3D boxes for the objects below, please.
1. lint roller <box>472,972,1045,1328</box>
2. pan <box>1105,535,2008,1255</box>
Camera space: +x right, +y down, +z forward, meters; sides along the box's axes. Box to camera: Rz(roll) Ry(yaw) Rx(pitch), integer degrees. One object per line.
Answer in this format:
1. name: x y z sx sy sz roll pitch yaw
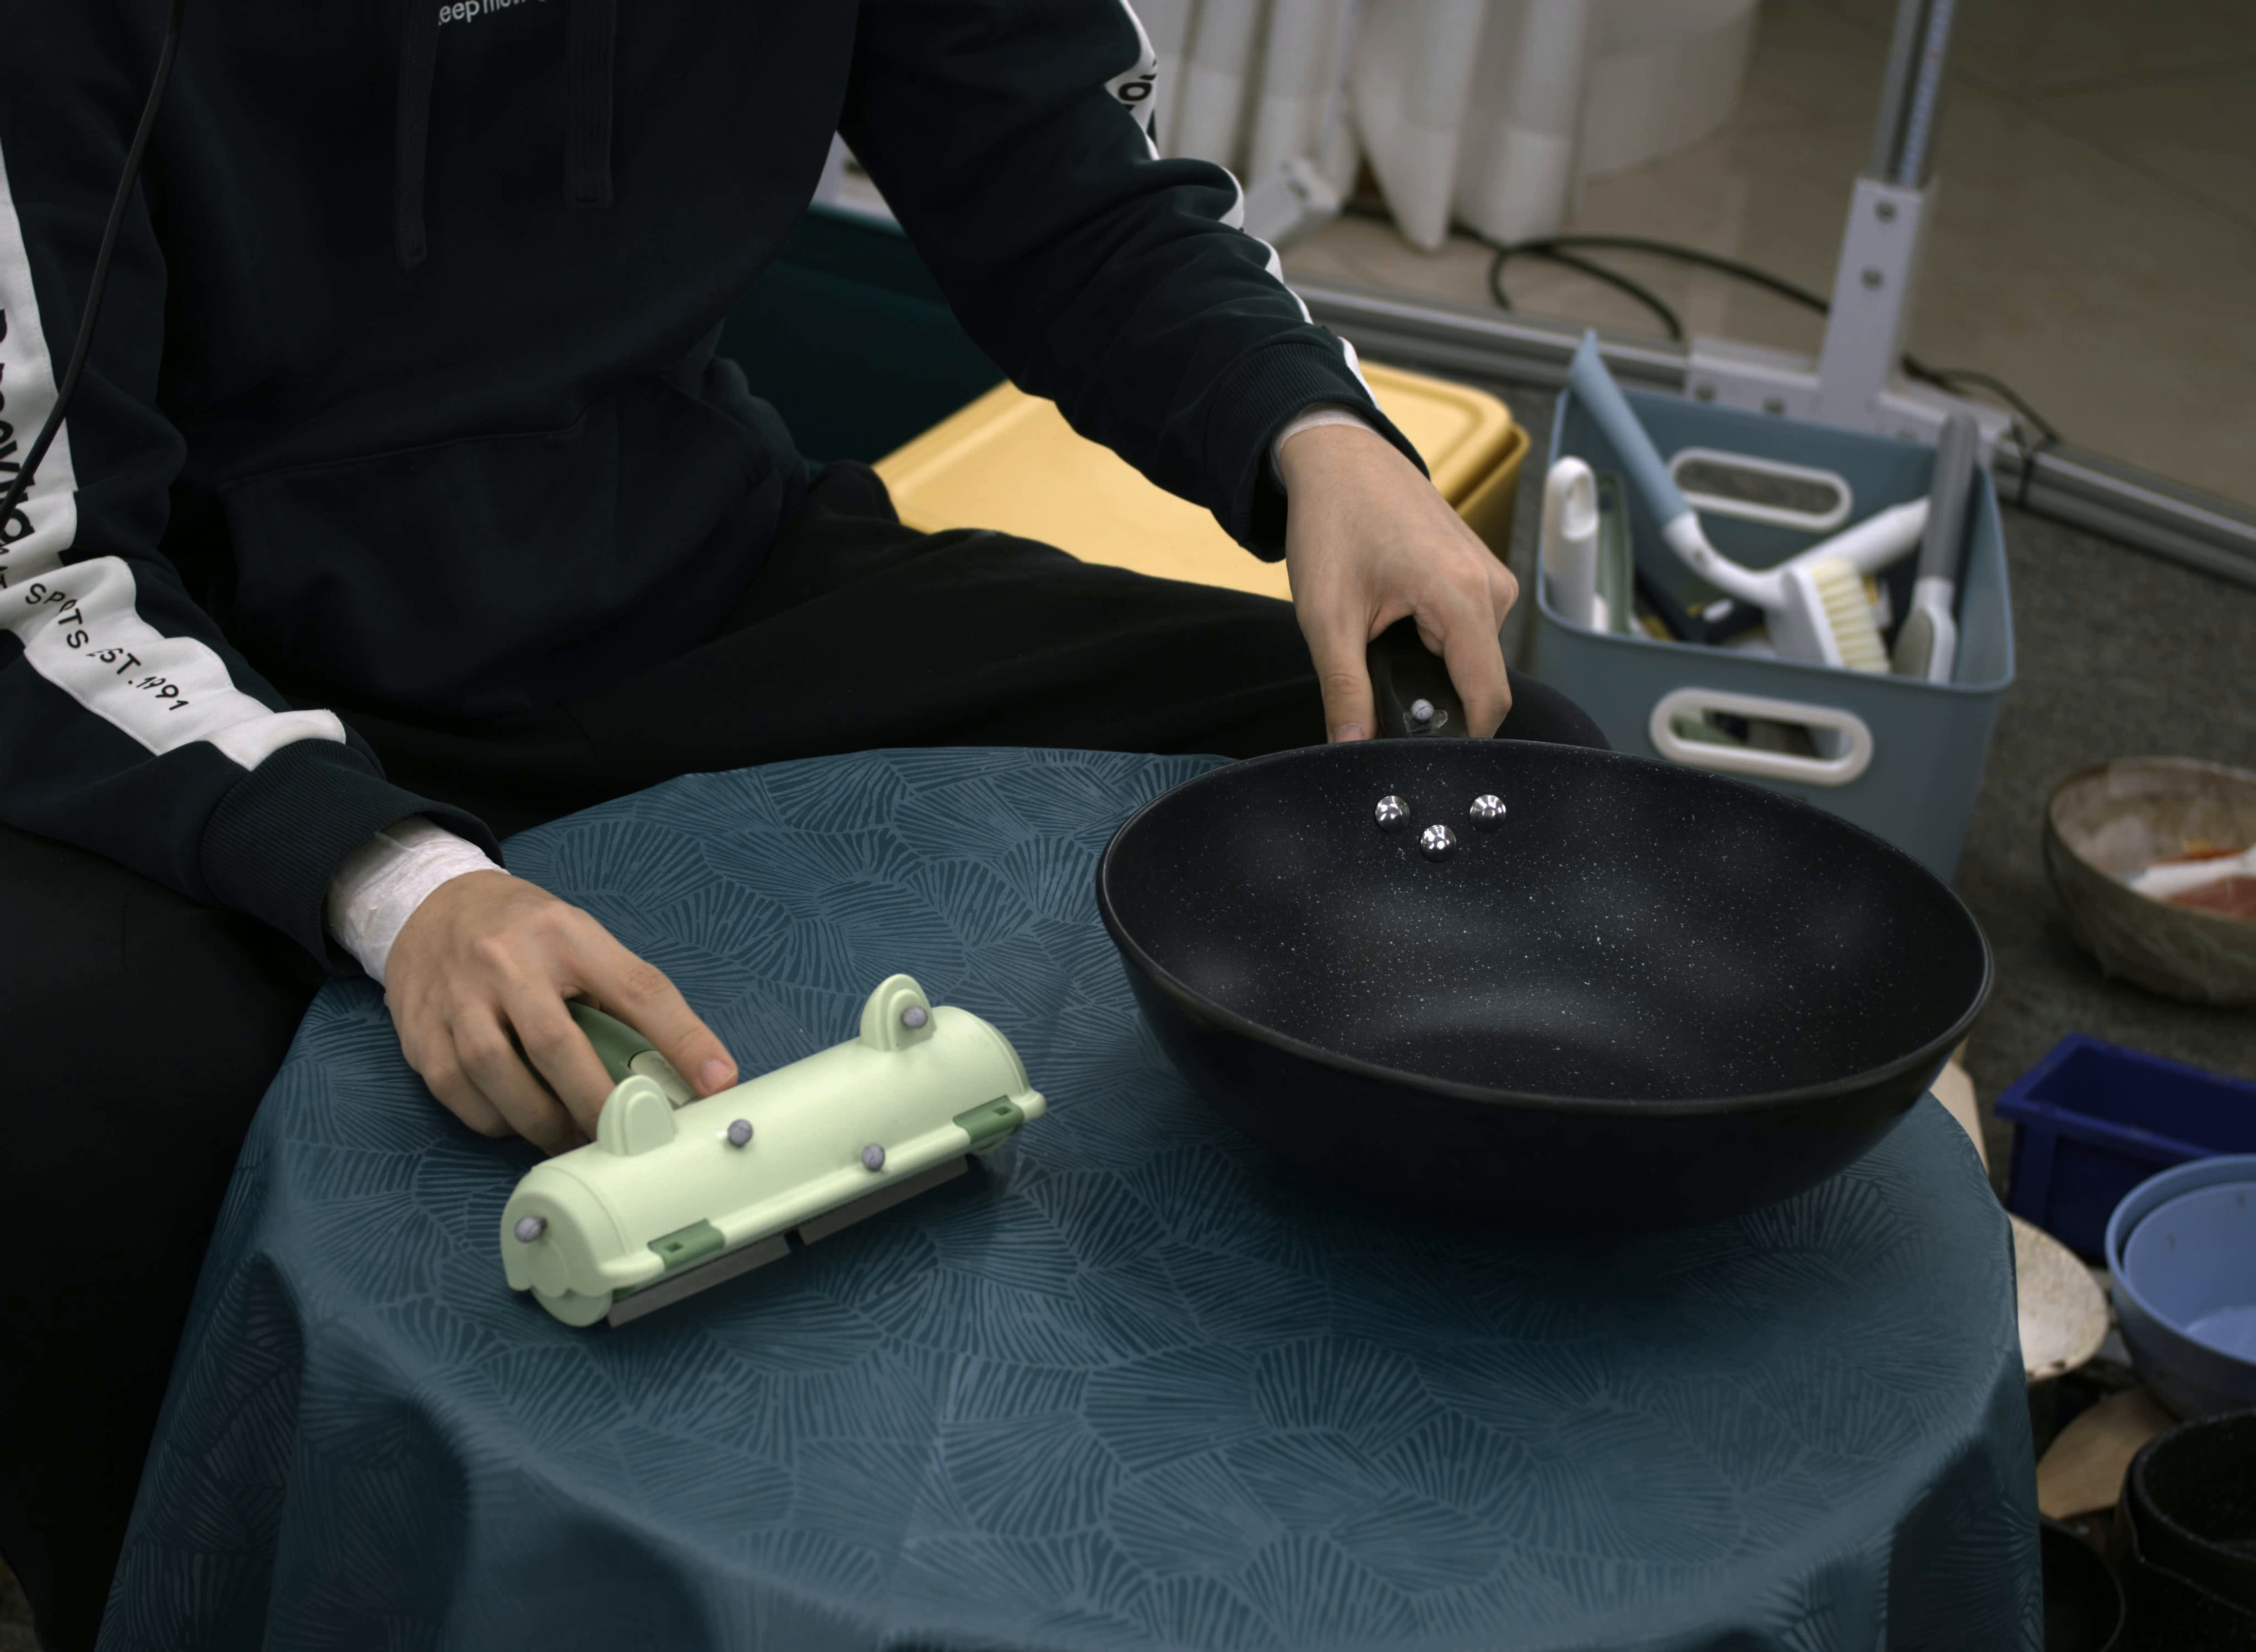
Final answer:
1. lint roller: -0.155 0.079 1.770 0.197 0.082 0.185 -20 42 -41
2. pan: 0.127 0.028 1.902 0.308 0.111 0.480 1 23 -12
